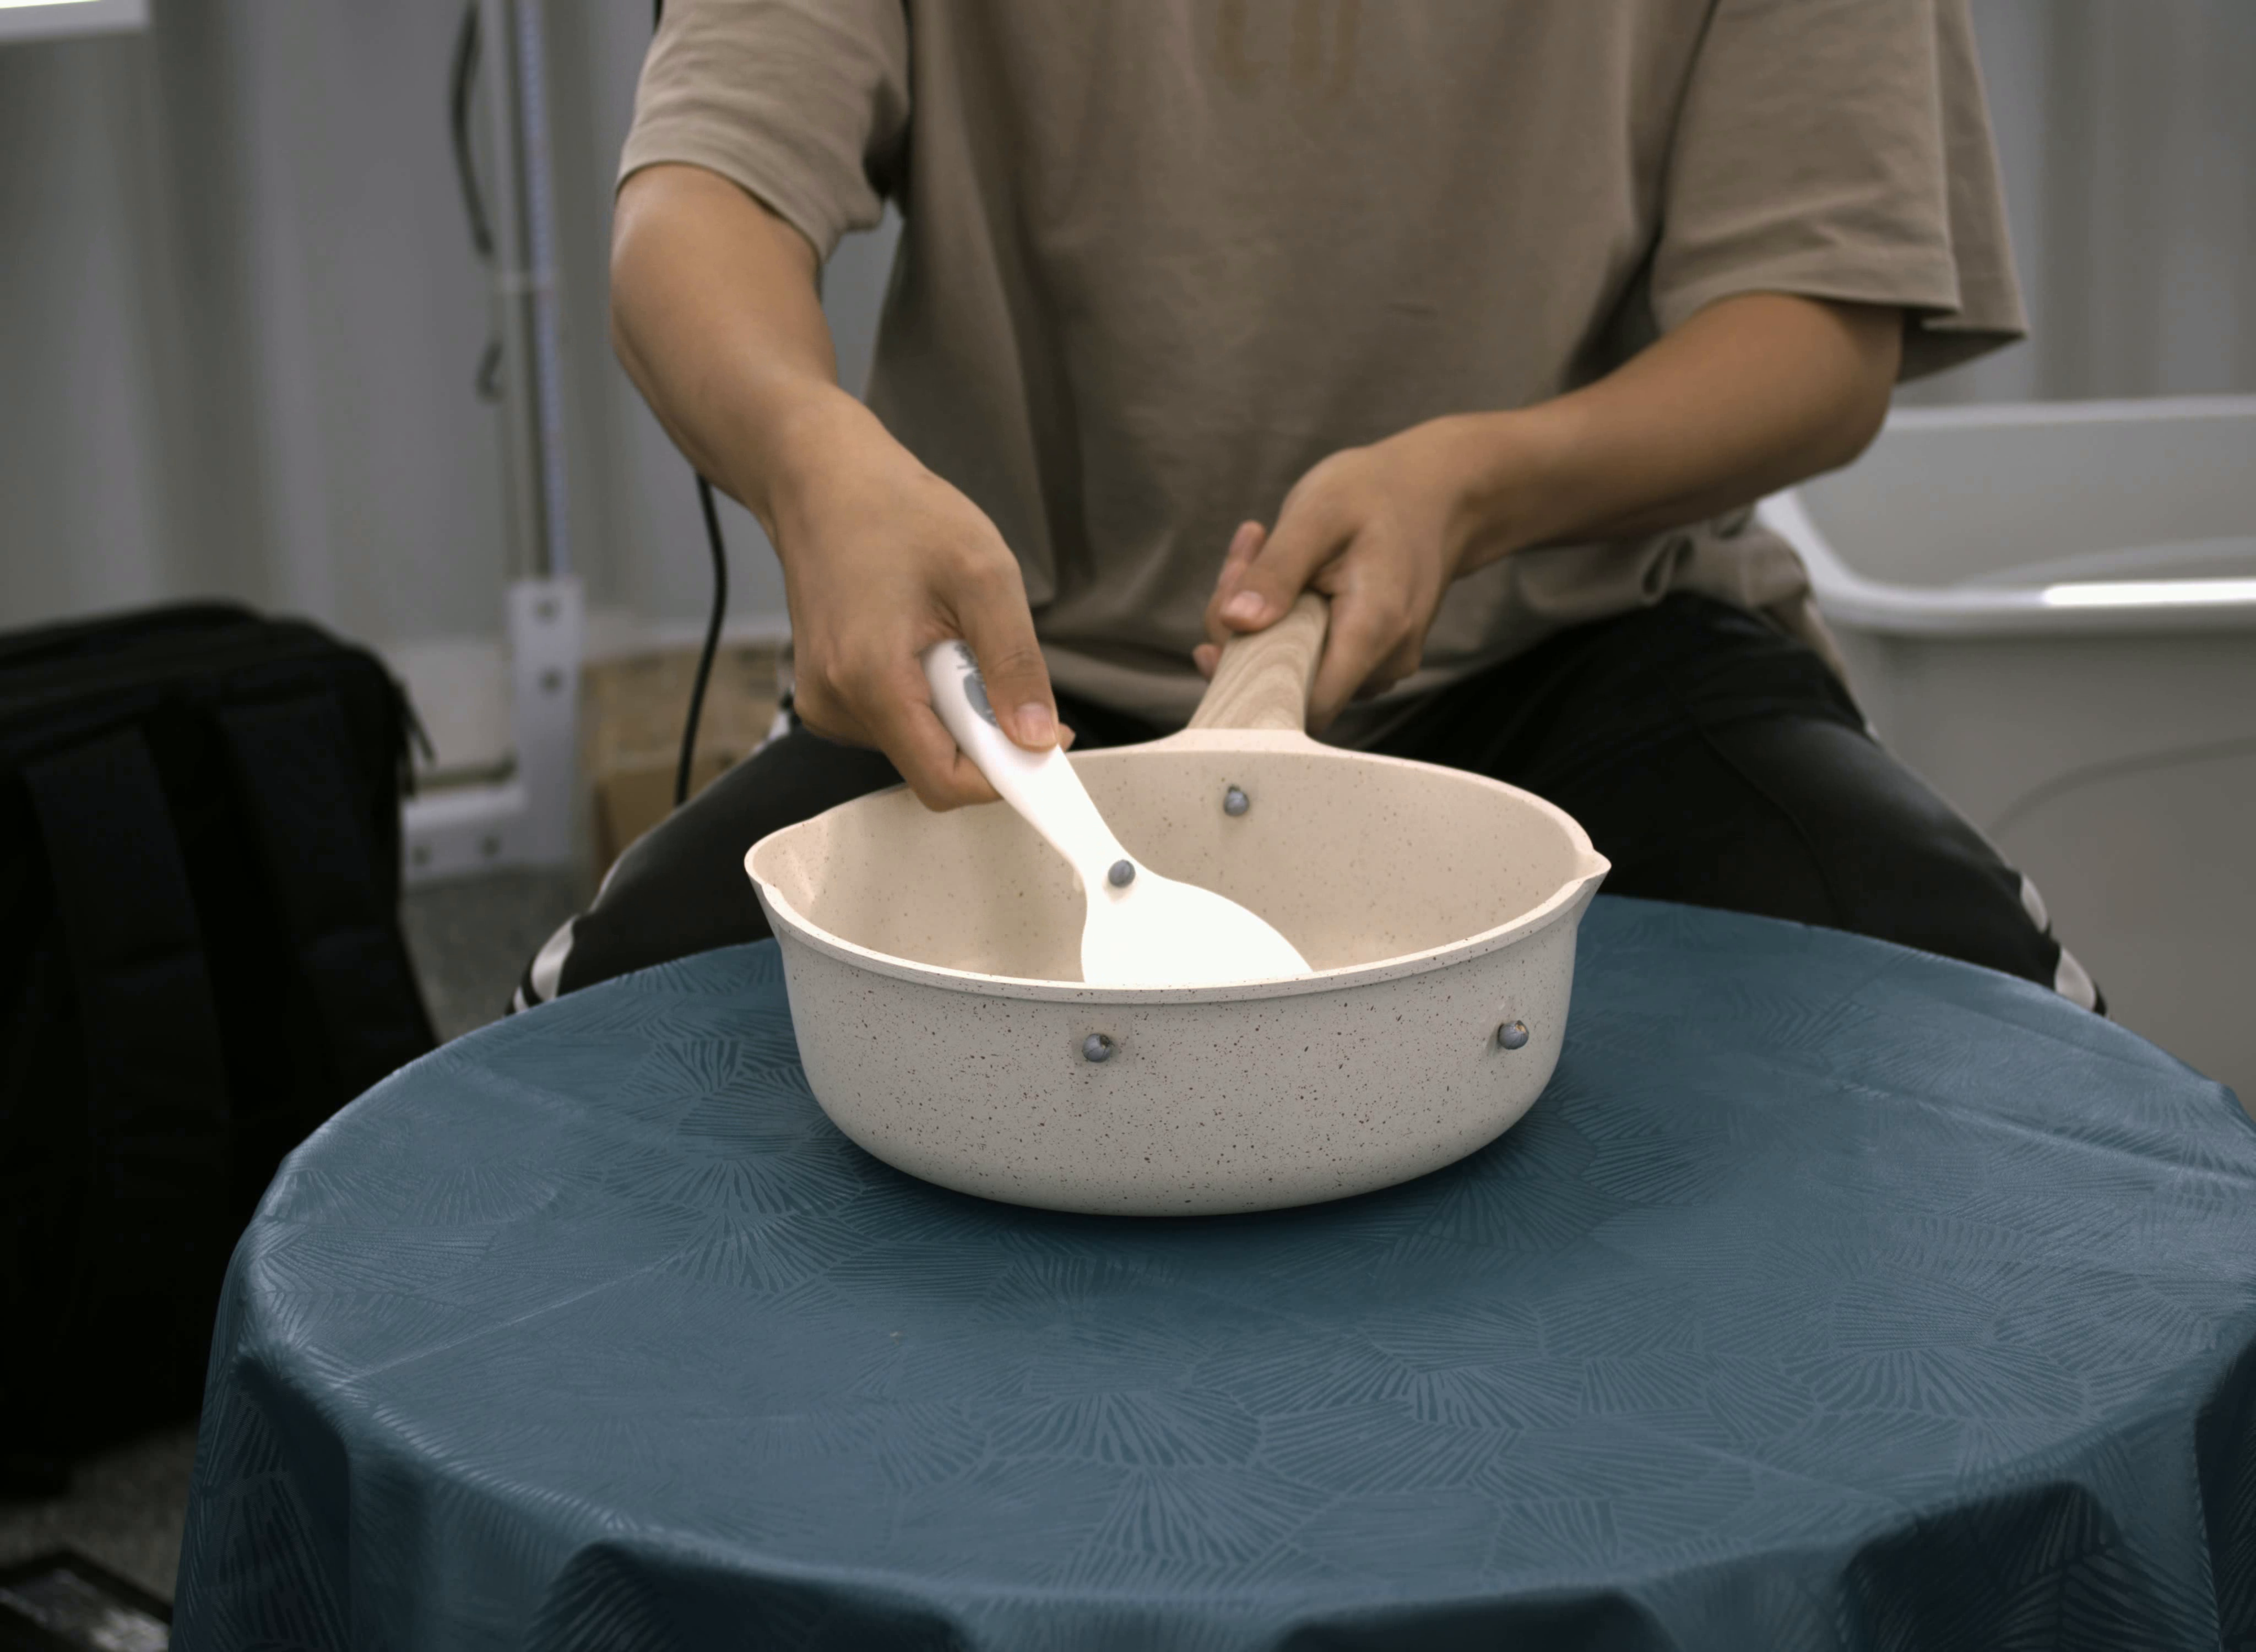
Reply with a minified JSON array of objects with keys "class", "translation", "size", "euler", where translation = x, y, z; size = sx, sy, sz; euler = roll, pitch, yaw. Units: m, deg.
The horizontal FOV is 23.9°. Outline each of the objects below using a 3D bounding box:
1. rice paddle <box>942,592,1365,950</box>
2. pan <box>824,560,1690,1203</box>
[{"class":"rice paddle","translation":[0.012,0.007,1.645],"size":[0.068,0.029,0.209],"euler":[-28,60,-20]},{"class":"pan","translation":[0.054,0.014,1.693],"size":[0.264,0.102,0.433],"euler":[-1,16,10]}]
